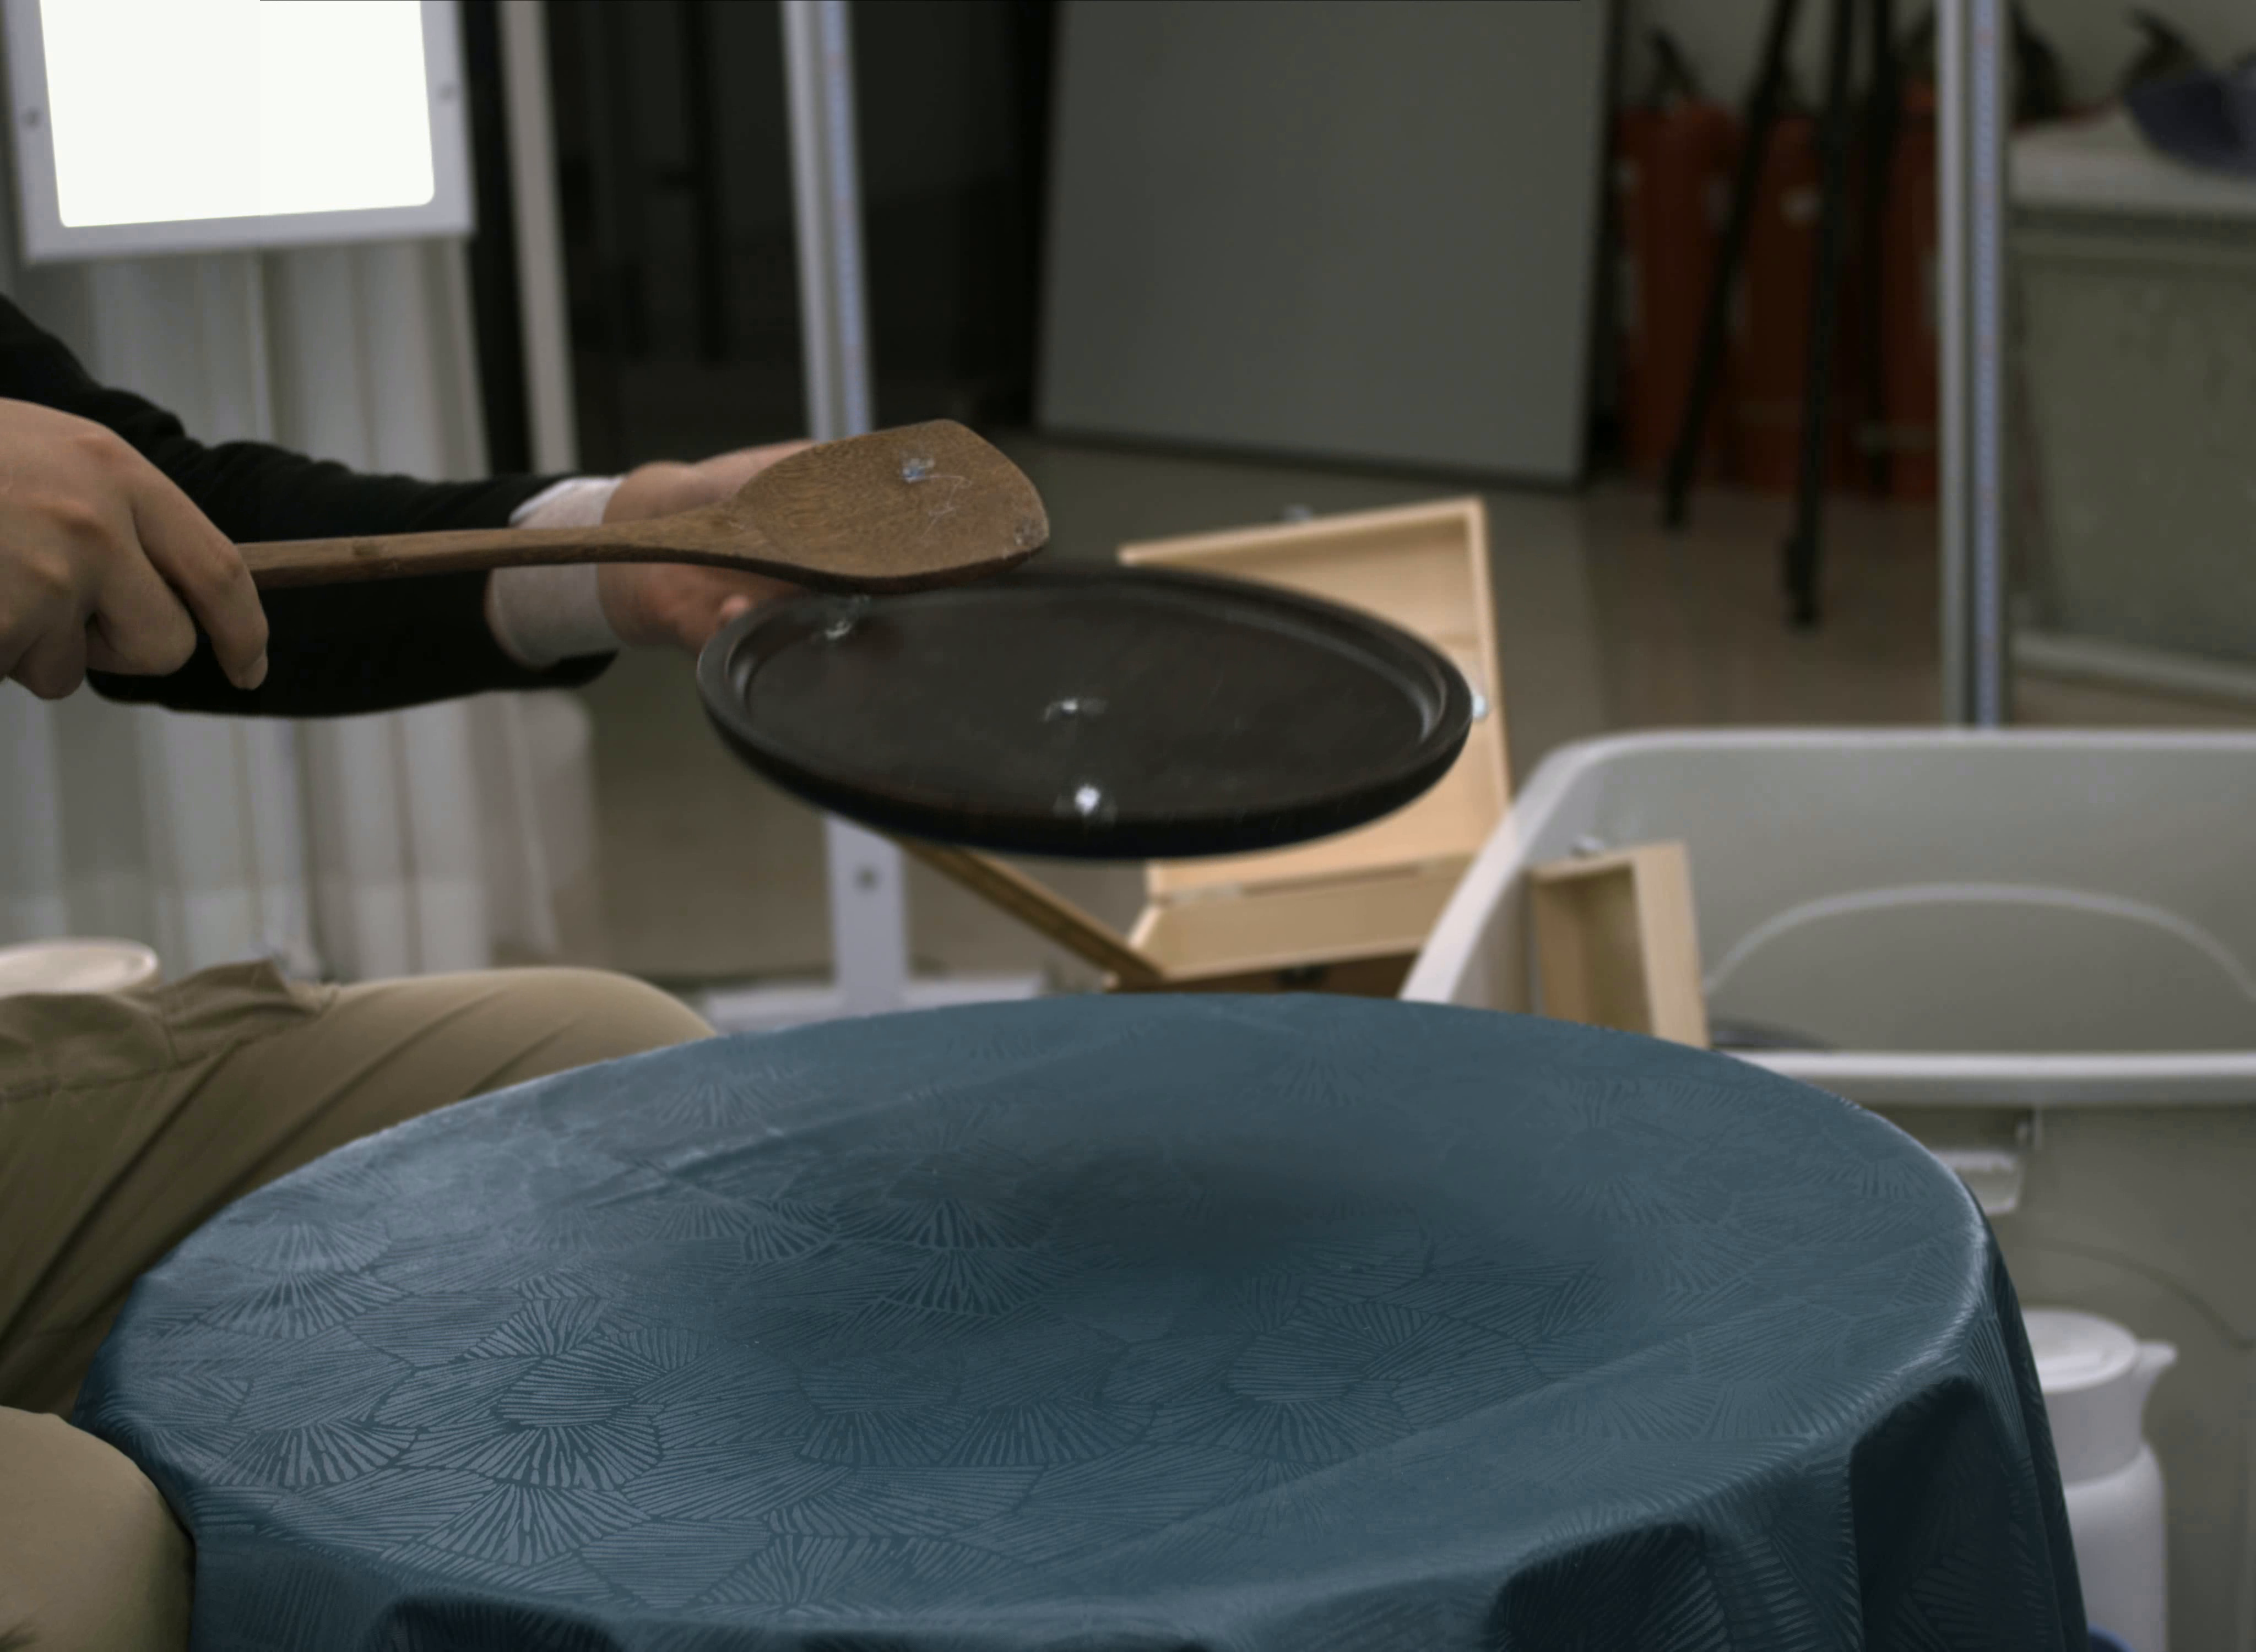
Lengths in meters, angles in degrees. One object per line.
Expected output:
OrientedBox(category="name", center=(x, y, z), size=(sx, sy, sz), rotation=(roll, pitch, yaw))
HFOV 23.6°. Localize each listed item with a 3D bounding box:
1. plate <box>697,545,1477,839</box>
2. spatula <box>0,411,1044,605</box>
OrientedBox(category="plate", center=(-0.013, -0.046, 1.735), size=(0.251, 0.029, 0.255), rotation=(1, 21, -1))
OrientedBox(category="spatula", center=(-0.210, -0.087, 1.630), size=(0.378, 0.016, 0.097), rotation=(-6, 31, -19))
